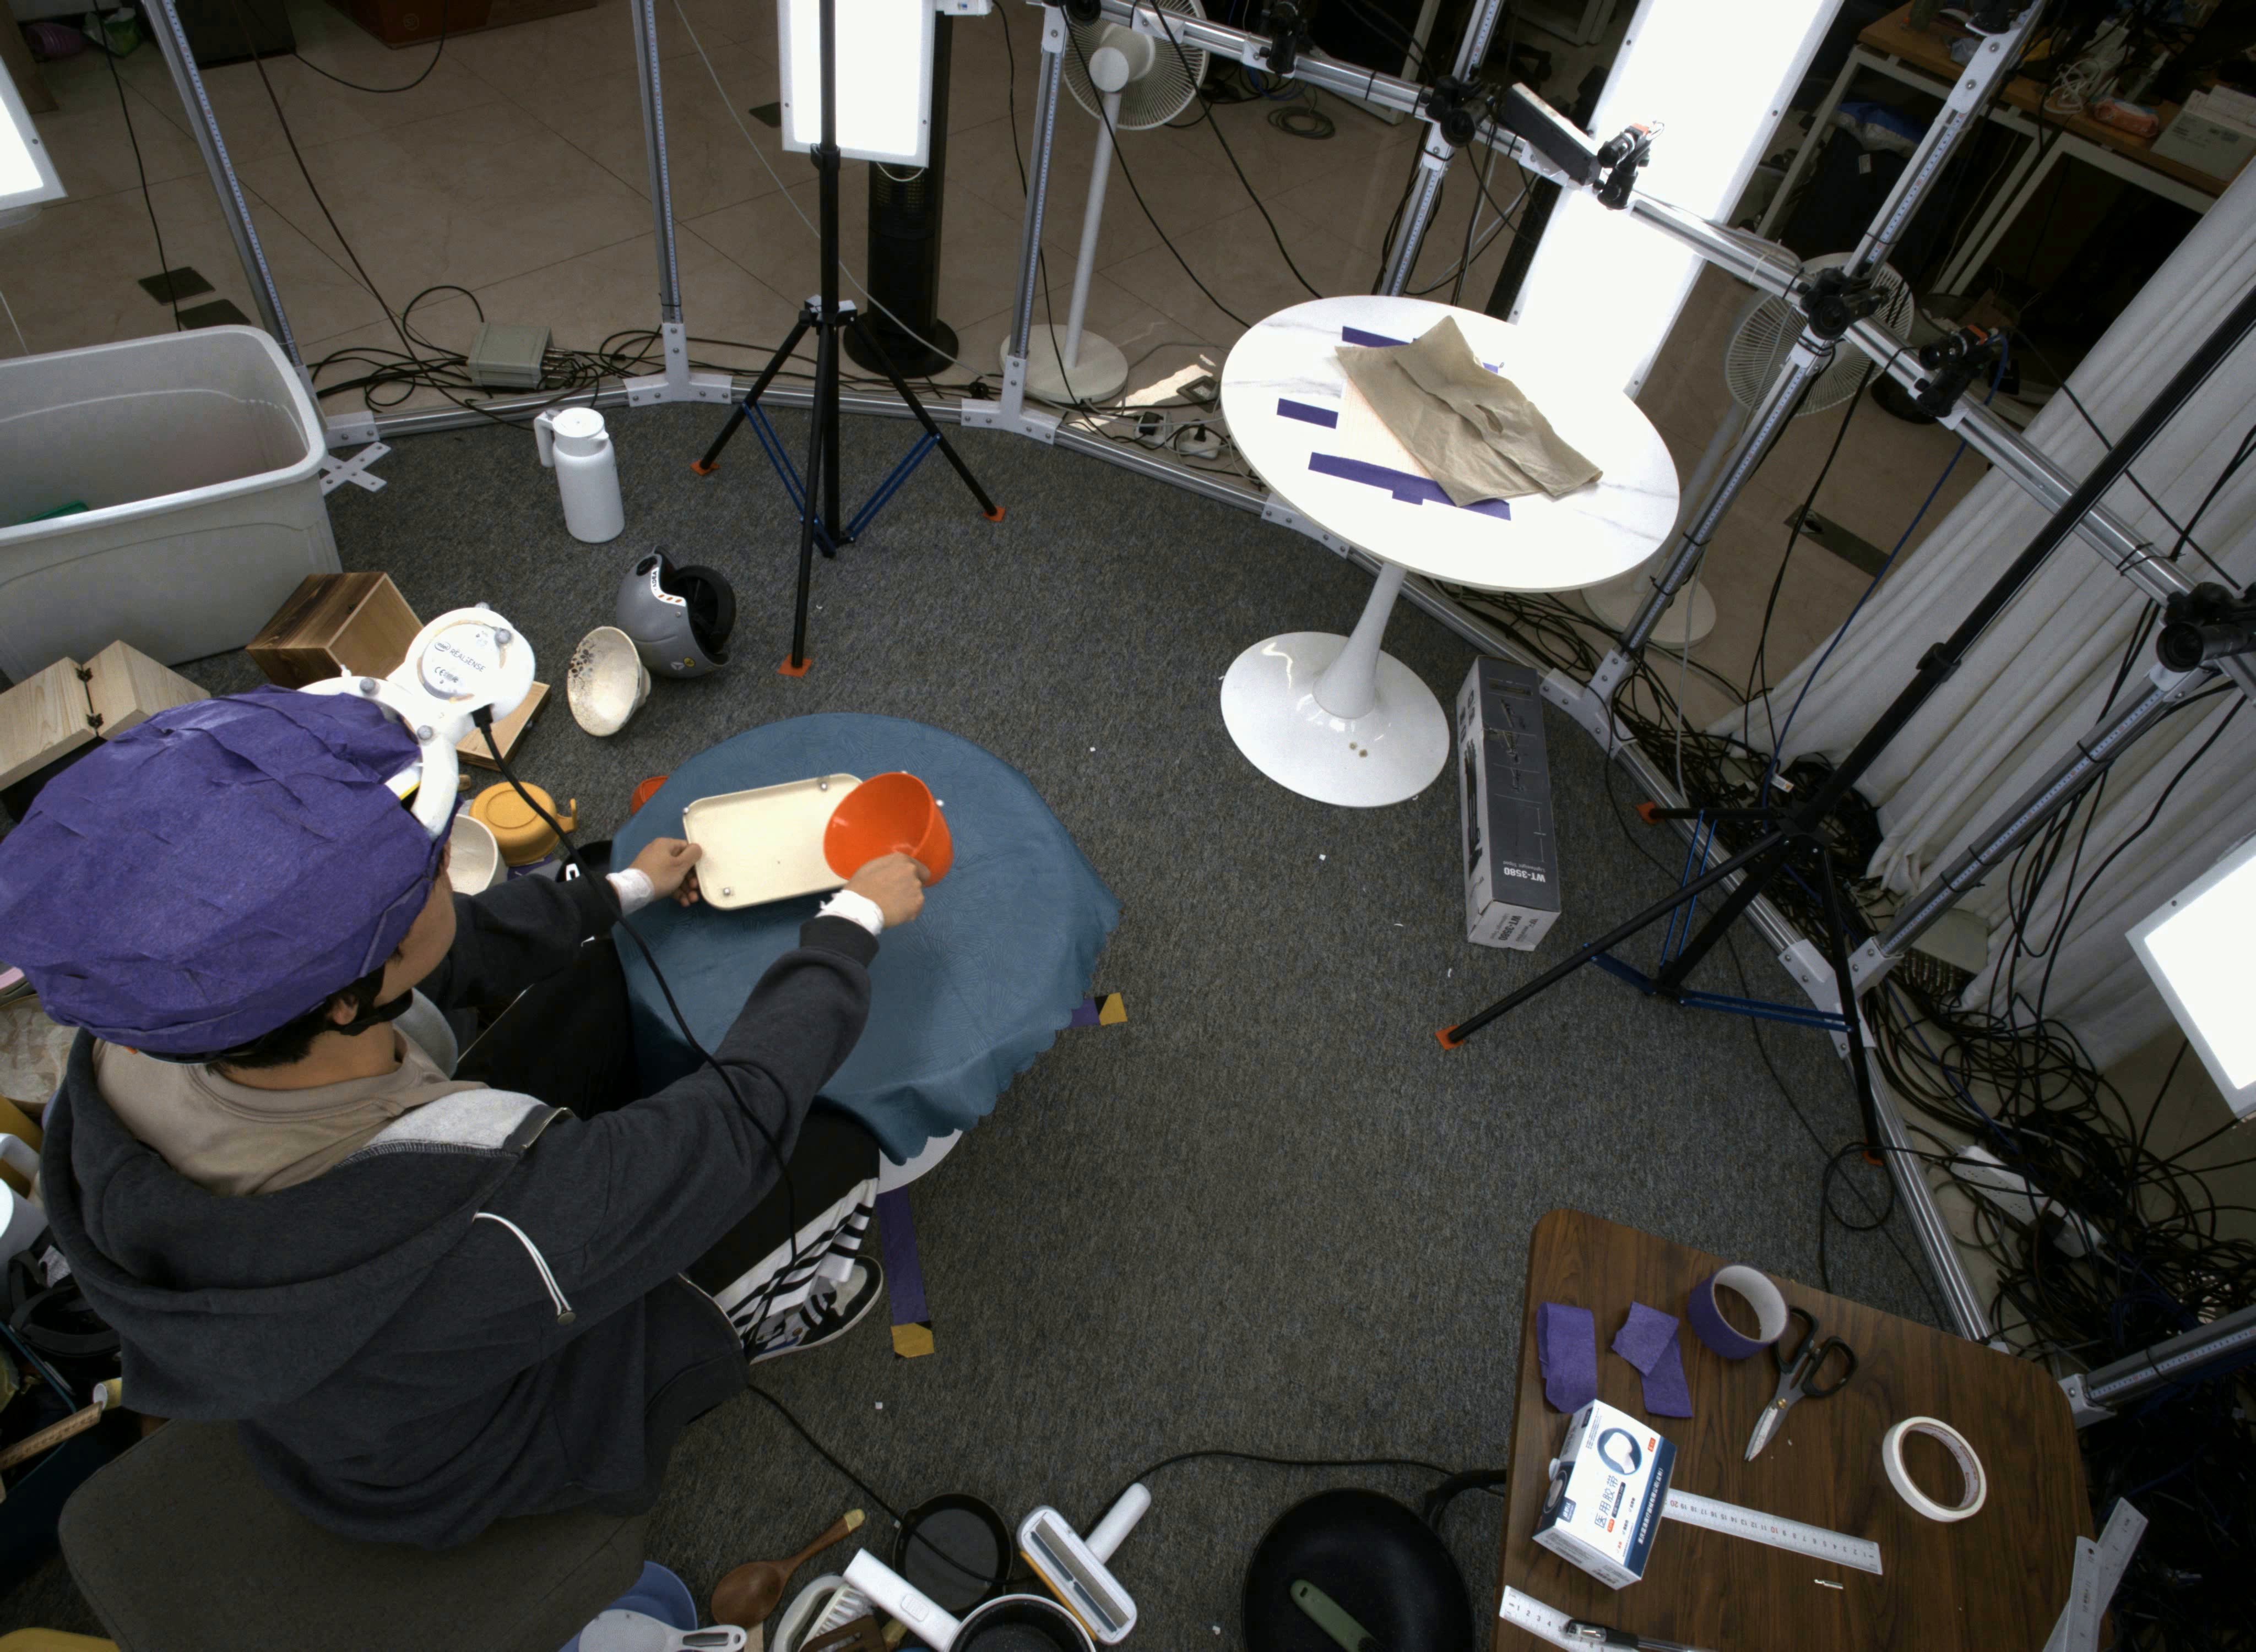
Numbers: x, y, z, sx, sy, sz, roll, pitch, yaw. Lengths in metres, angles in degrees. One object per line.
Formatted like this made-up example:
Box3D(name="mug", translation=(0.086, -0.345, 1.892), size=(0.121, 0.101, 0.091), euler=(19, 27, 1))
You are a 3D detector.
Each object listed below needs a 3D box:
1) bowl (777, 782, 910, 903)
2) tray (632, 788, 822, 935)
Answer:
Box3D(name="bowl", translation=(-0.324, 0.033, 1.532), size=(0.145, 0.108, 0.145), euler=(-17, 52, 25))
Box3D(name="tray", translation=(-0.493, 0.042, 1.632), size=(0.241, 0.018, 0.168), euler=(-14, 63, -26))
